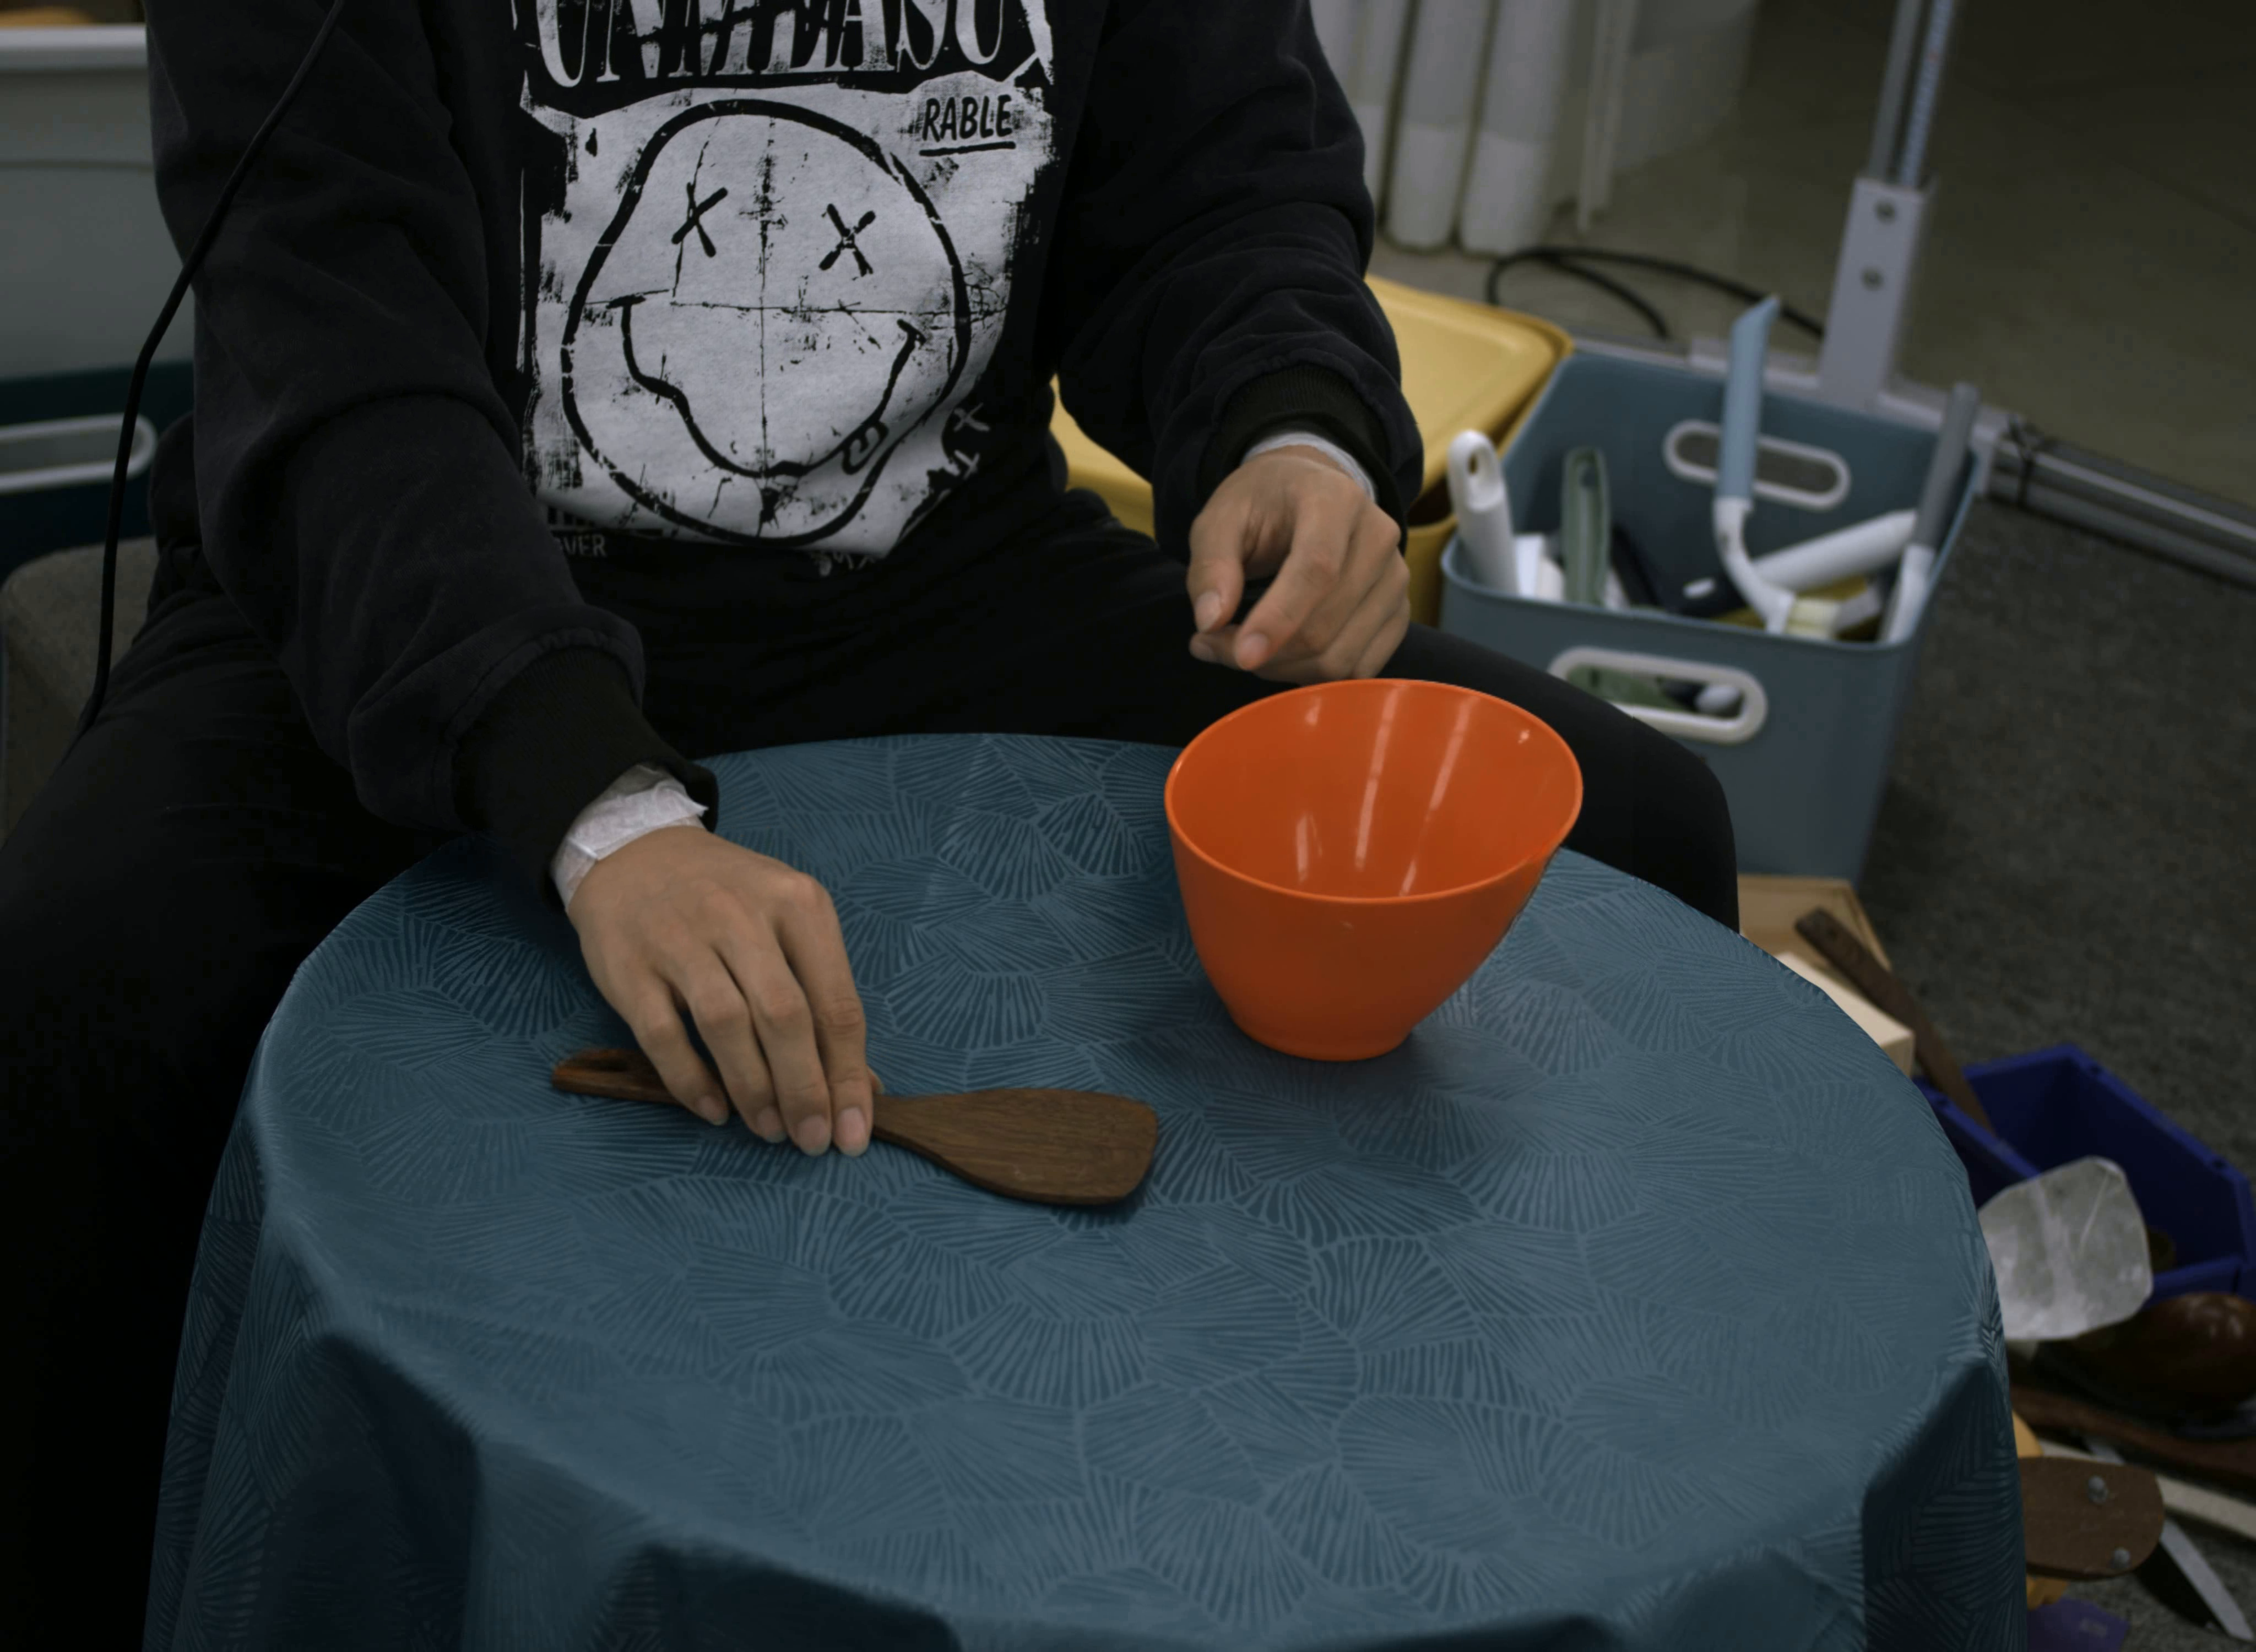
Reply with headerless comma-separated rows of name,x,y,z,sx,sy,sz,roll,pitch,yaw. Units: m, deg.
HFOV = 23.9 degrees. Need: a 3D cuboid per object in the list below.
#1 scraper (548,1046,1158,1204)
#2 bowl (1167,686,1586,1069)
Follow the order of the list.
scraper,-0.095,0.098,1.821,0.211,0.011,0.076,9,25,6
bowl,0.084,0.024,1.905,0.147,0.104,0.149,5,27,-3
